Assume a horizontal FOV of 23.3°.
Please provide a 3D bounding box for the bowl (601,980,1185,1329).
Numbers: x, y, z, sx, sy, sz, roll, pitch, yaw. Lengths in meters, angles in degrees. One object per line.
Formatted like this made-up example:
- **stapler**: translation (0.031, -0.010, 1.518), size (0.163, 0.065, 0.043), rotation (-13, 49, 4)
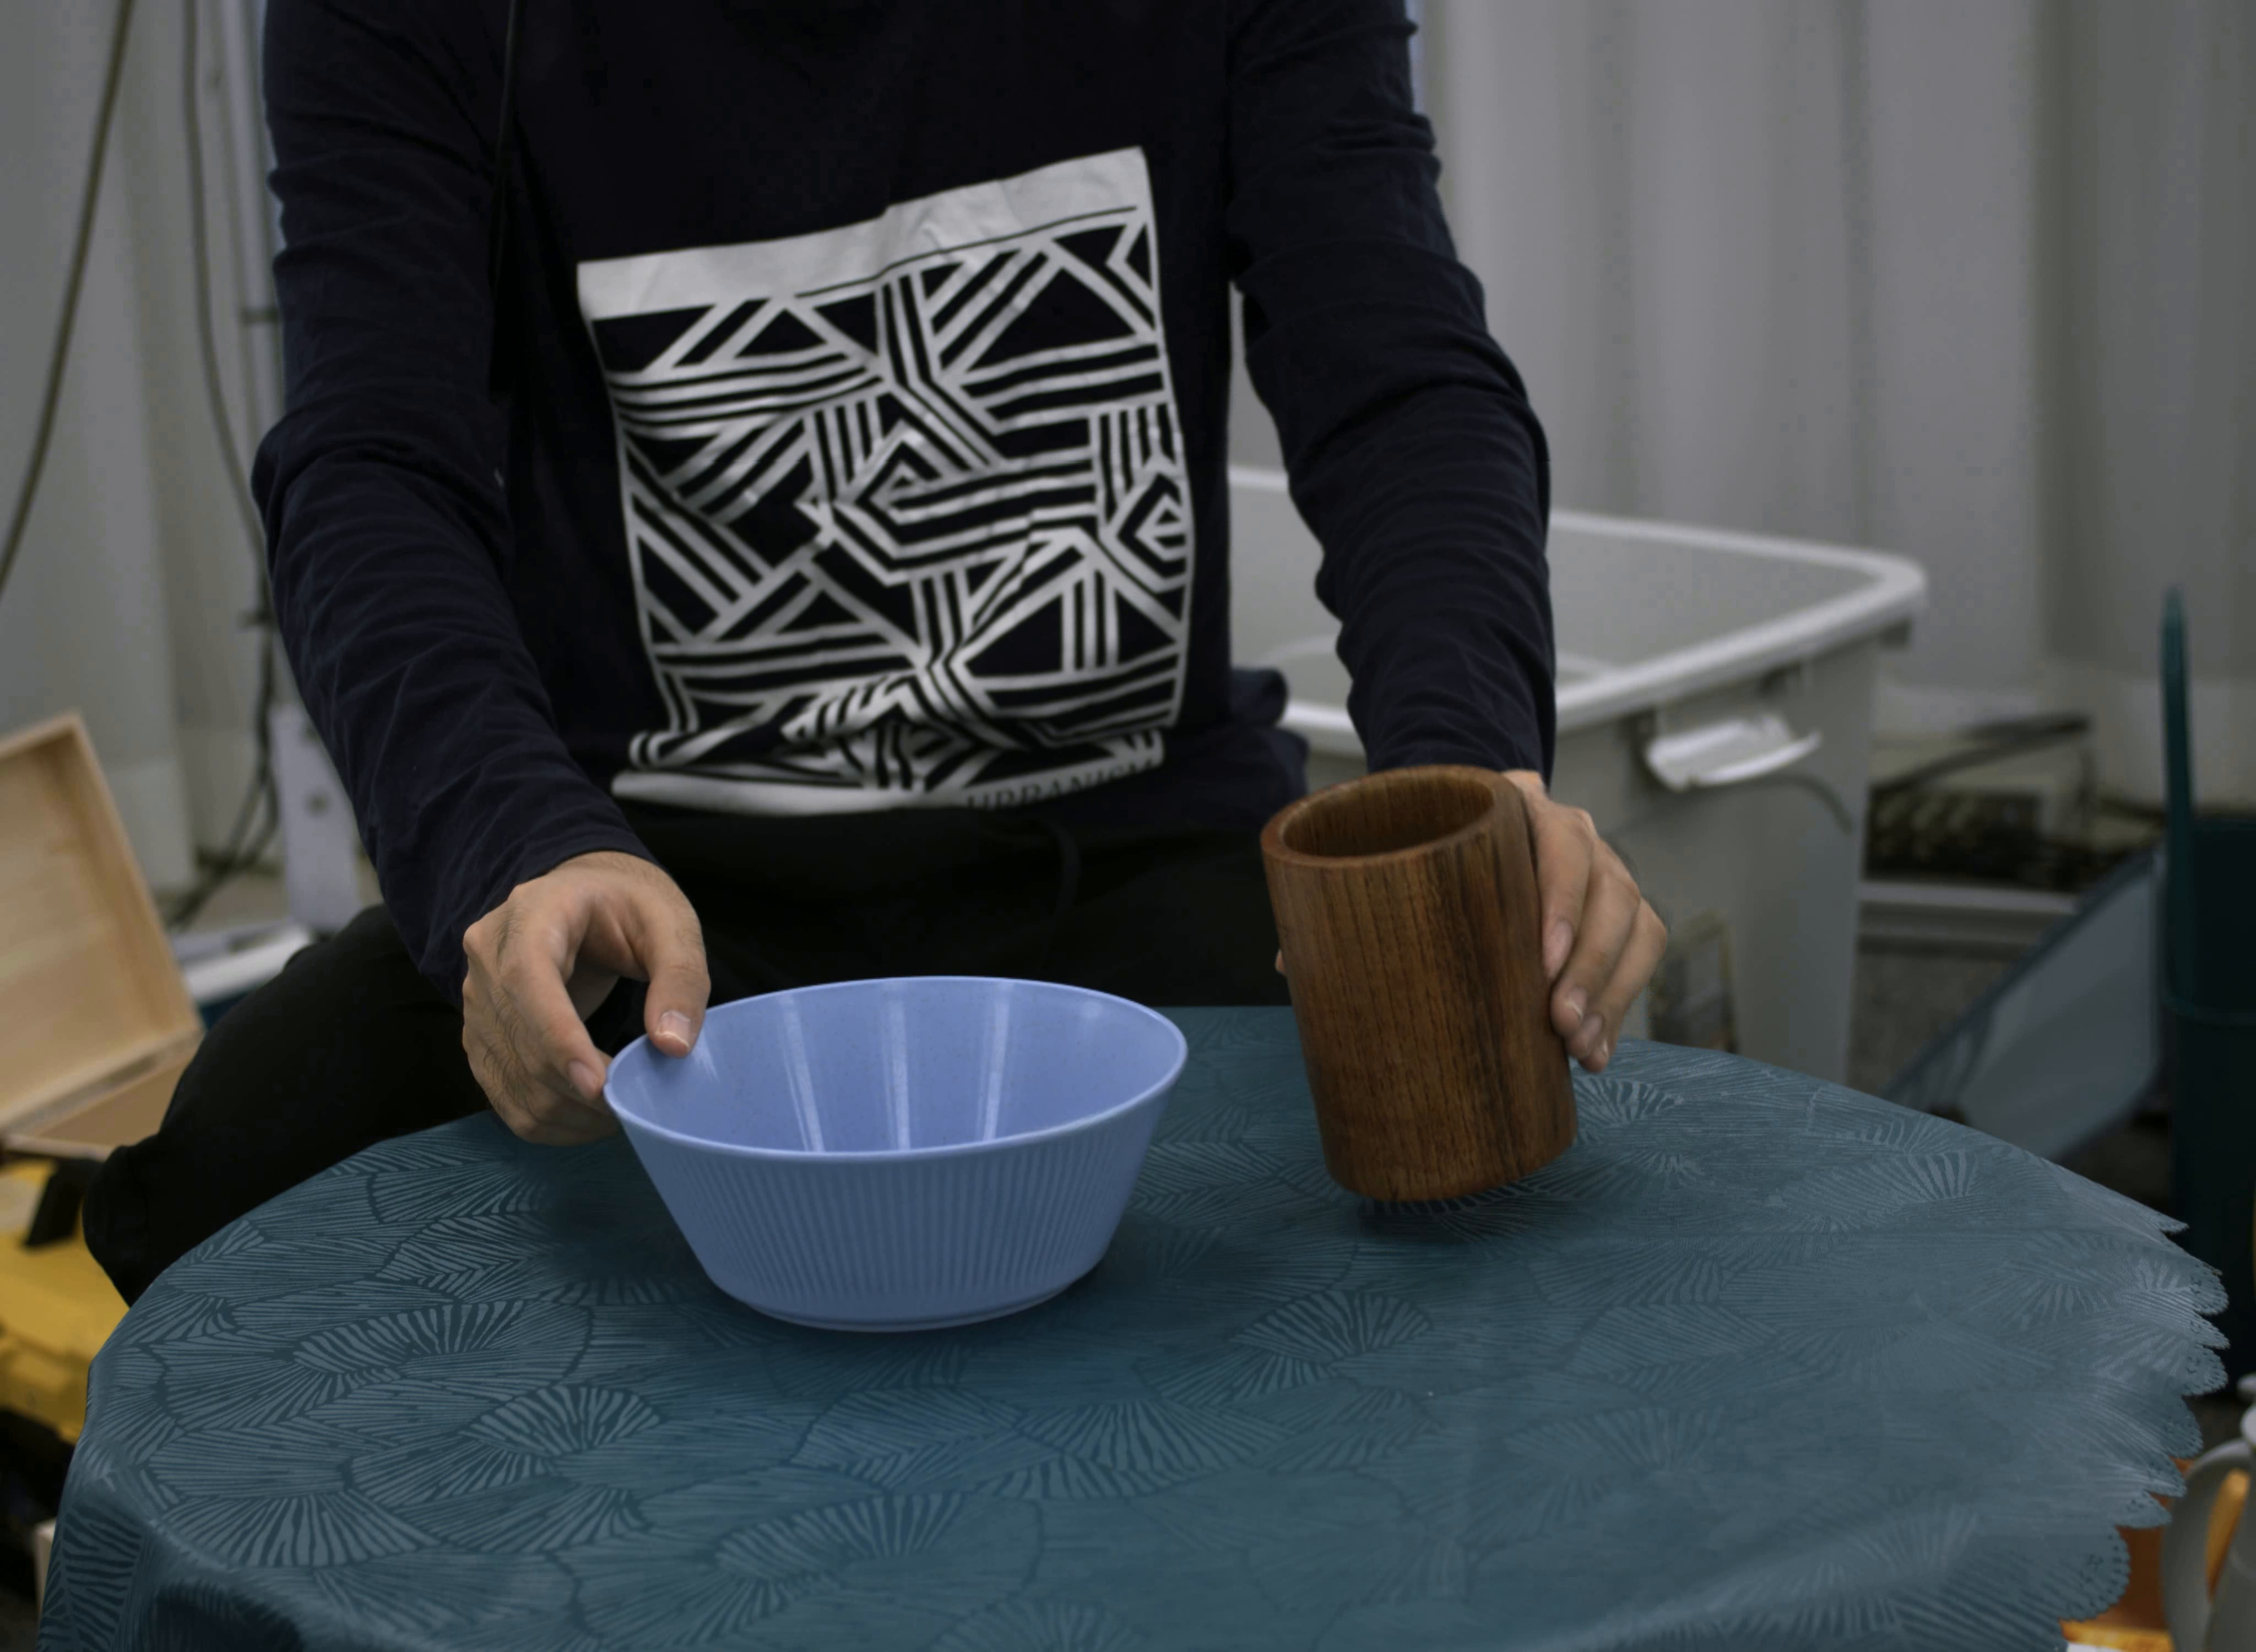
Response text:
- **bowl**: translation (-0.069, 0.101, 1.644), size (0.175, 0.070, 0.177), rotation (-2, 14, 0)

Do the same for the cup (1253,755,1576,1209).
- **cup**: translation (0.087, 0.047, 1.659), size (0.087, 0.118, 0.088), rotation (-10, 17, 3)
